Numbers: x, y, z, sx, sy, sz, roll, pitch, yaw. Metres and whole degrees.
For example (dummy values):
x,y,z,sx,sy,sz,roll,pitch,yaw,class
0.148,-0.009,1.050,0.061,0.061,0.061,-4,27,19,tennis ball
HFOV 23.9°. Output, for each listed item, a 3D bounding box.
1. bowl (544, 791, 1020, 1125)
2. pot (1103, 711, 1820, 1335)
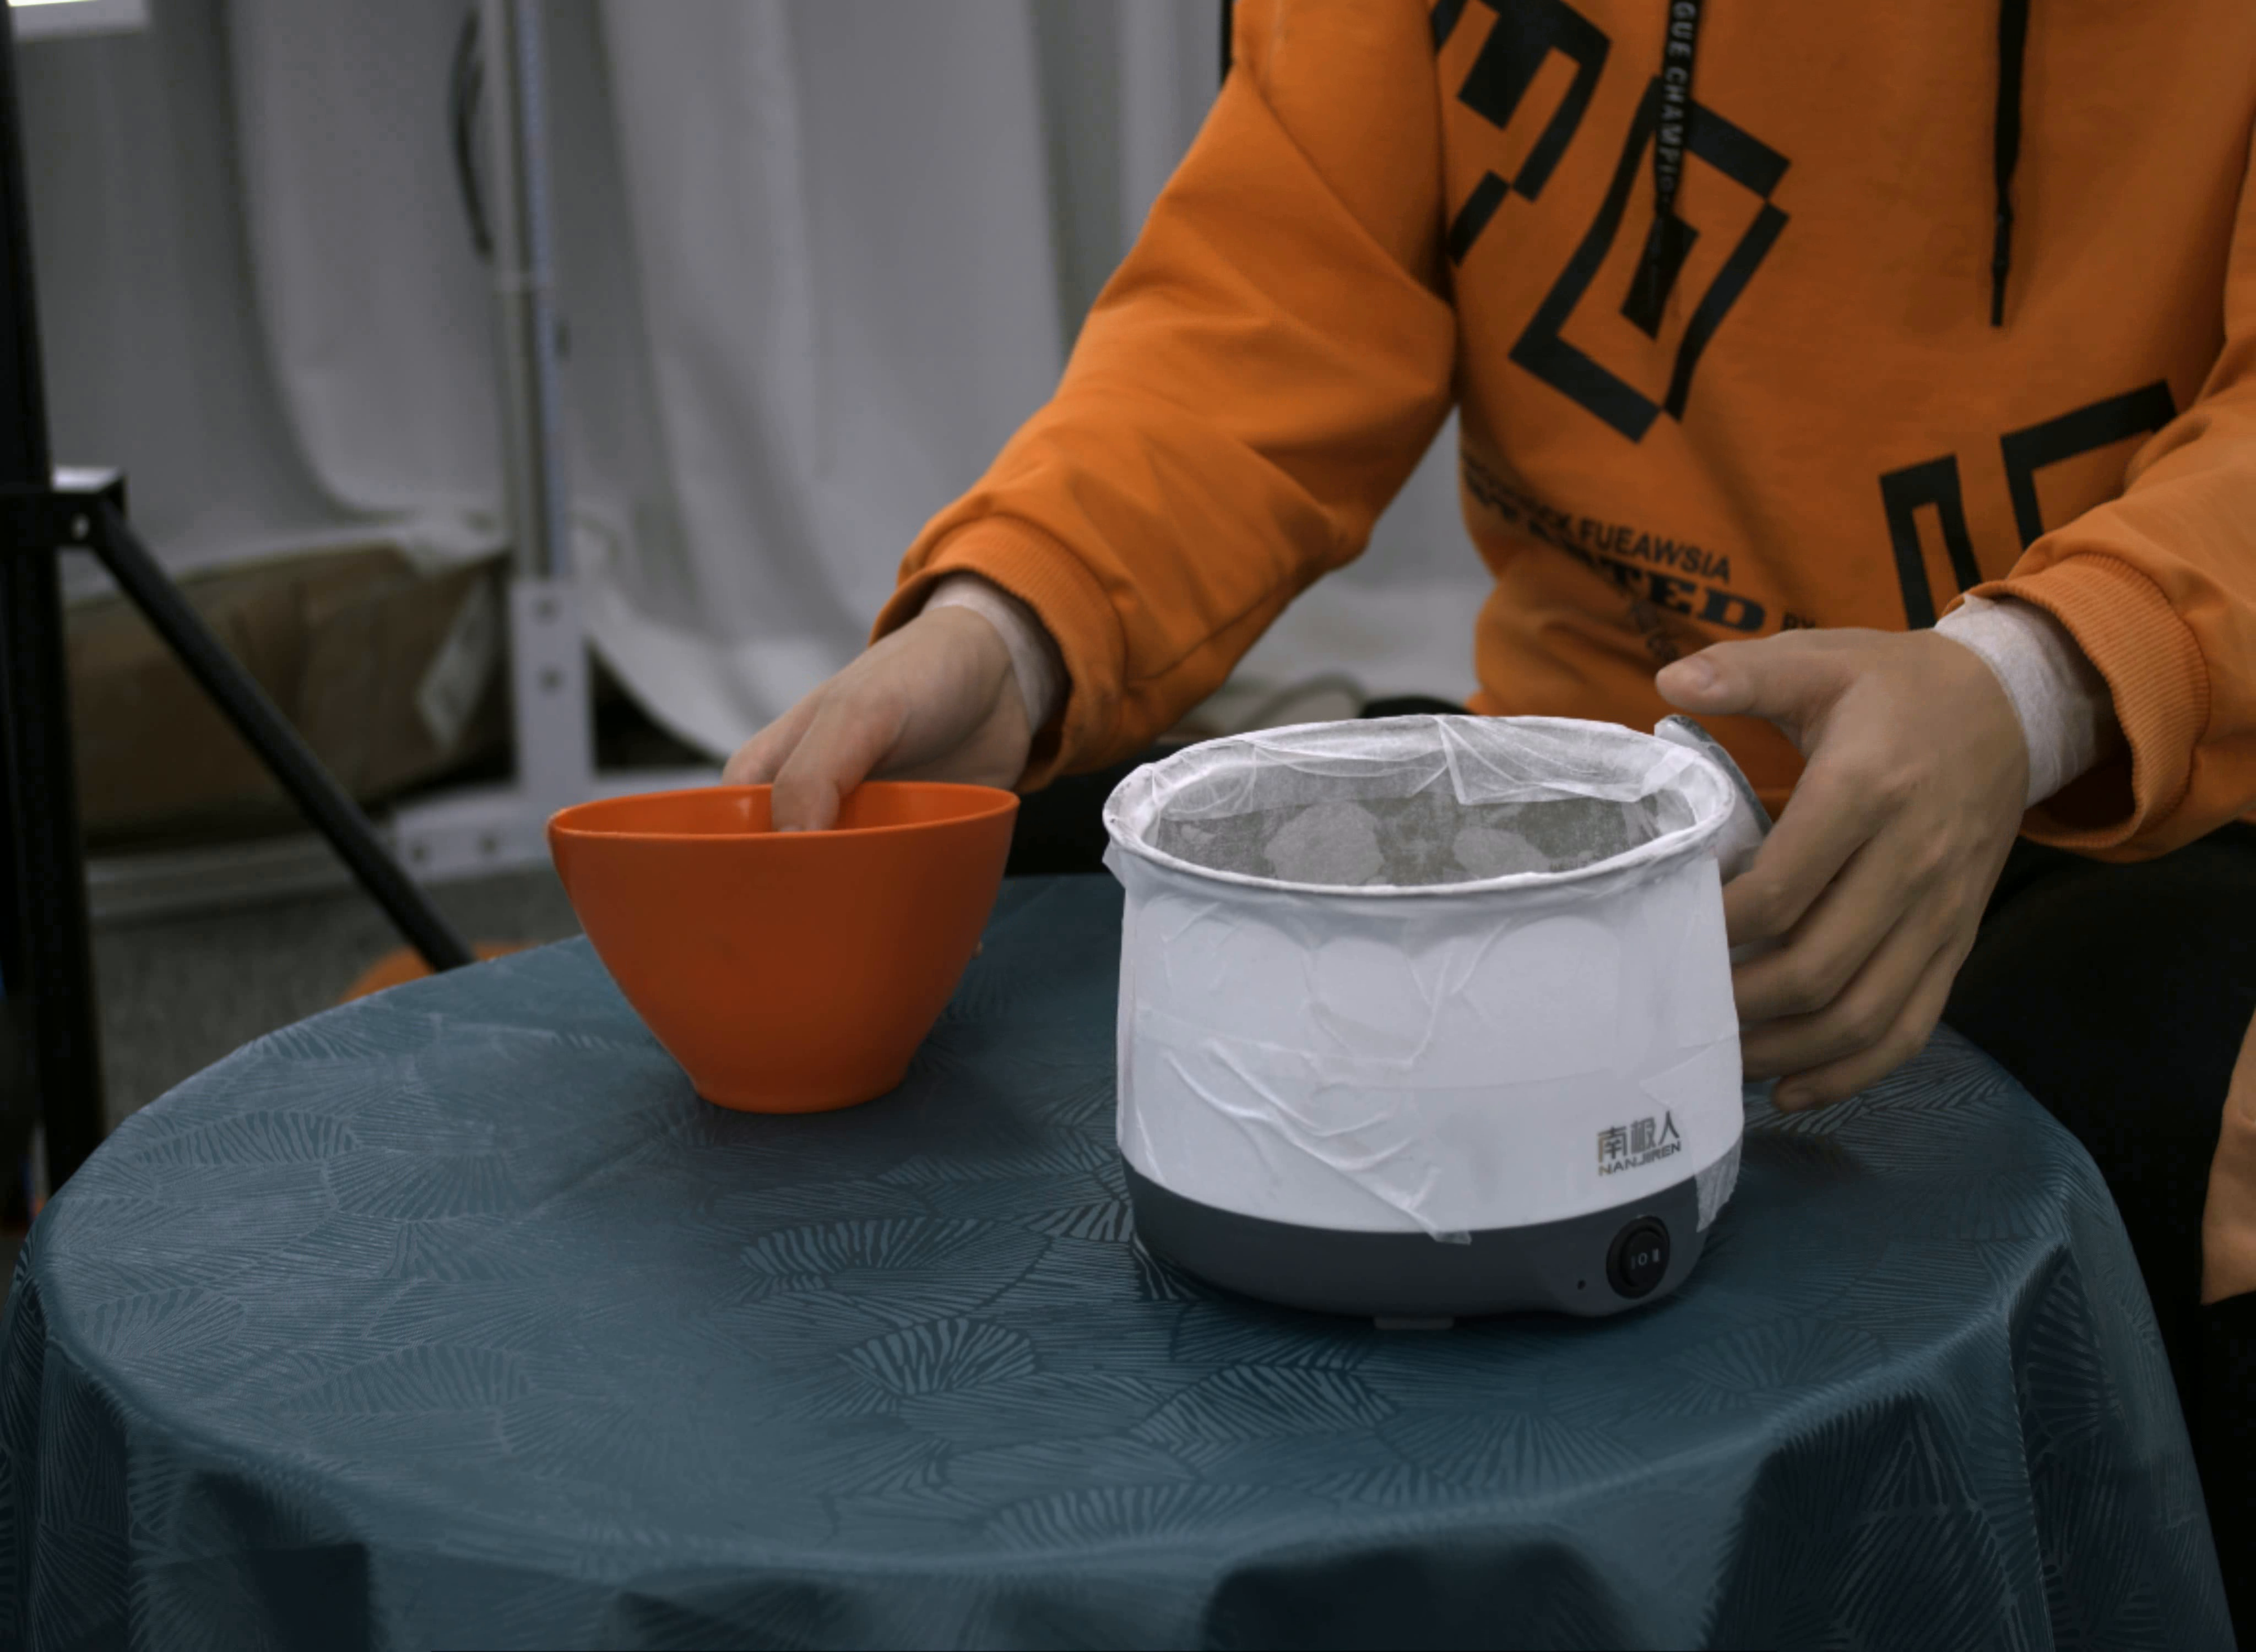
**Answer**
x,y,z,sx,sy,sz,roll,pitch,yaw,class
-0.105,0.037,1.651,0.147,0.104,0.149,-3,15,-1,bowl
0.105,0.048,1.502,0.228,0.136,0.183,-15,20,-36,pot
